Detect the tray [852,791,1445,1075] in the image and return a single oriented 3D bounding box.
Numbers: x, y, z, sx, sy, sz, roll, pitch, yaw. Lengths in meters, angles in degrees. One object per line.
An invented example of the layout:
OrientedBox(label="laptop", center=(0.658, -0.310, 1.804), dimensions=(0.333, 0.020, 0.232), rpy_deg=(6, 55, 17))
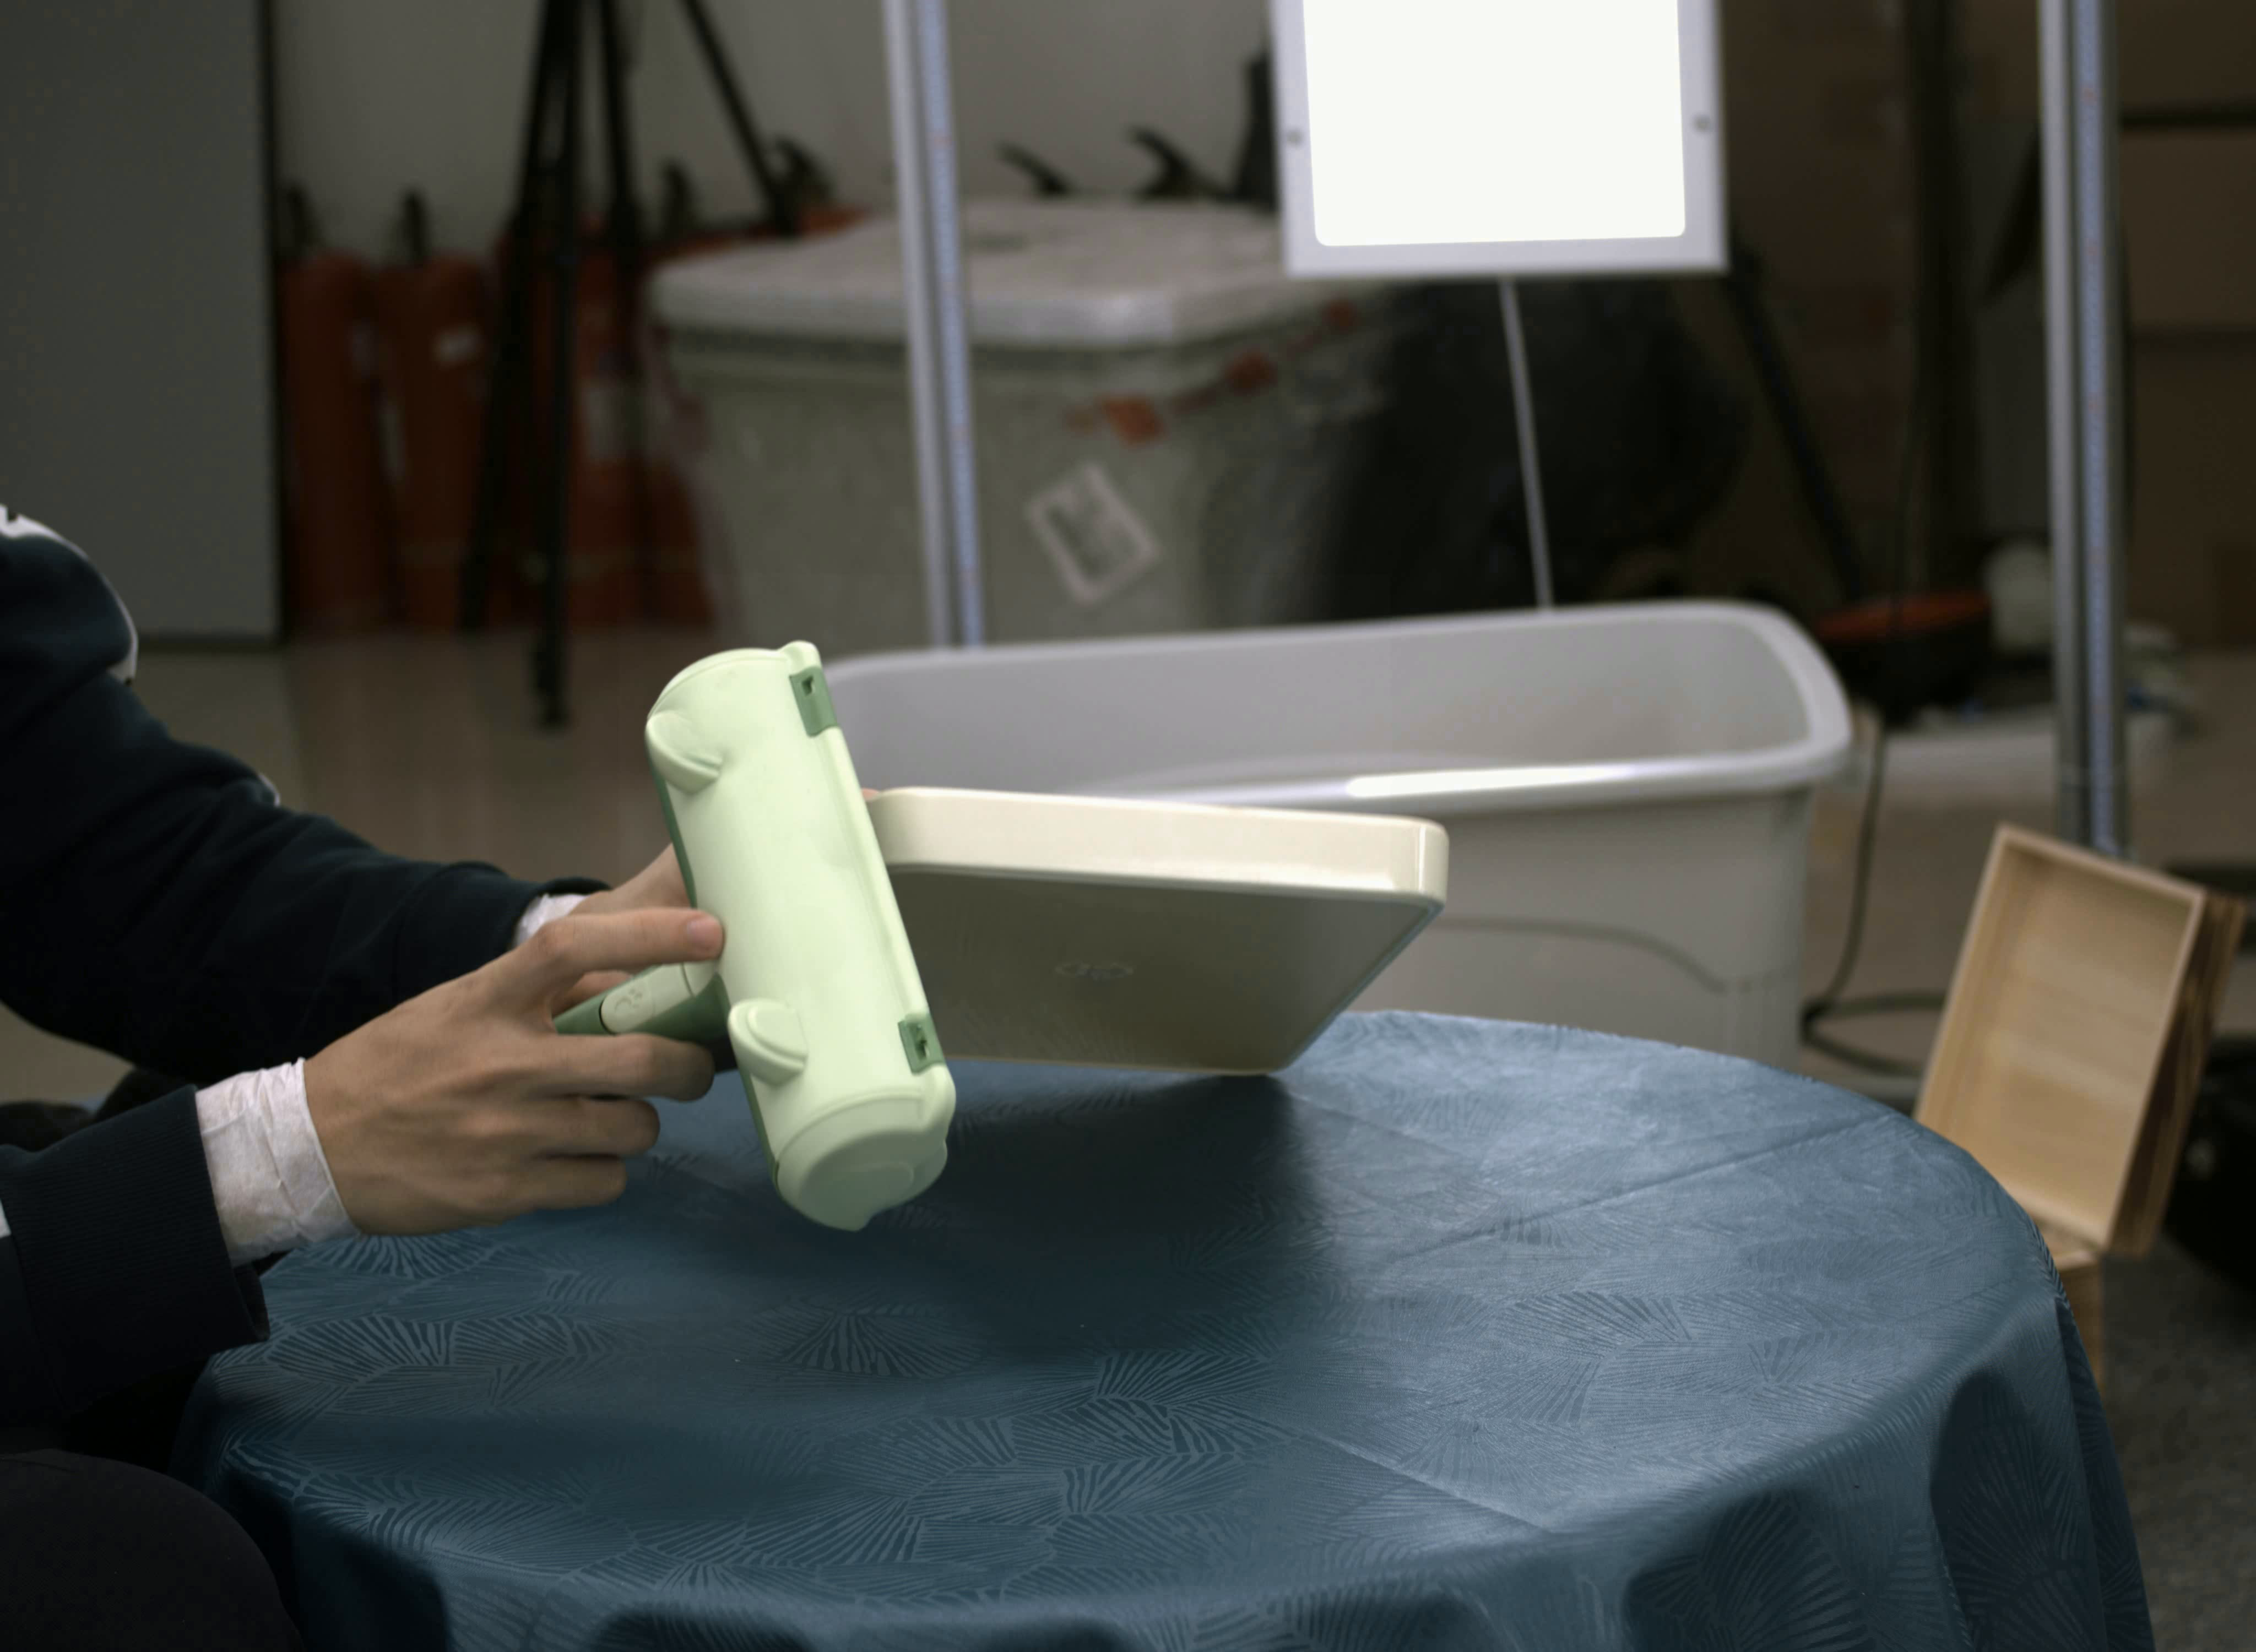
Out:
OrientedBox(label="tray", center=(-0.012, 0.041, 1.872), dimensions=(0.190, 0.027, 0.302), rpy_deg=(4, -14, -7))

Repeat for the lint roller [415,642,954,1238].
OrientedBox(label="lint roller", center=(-0.155, 0.054, 1.704), dimensions=(0.185, 0.081, 0.199), rpy_deg=(-27, 53, 11))
